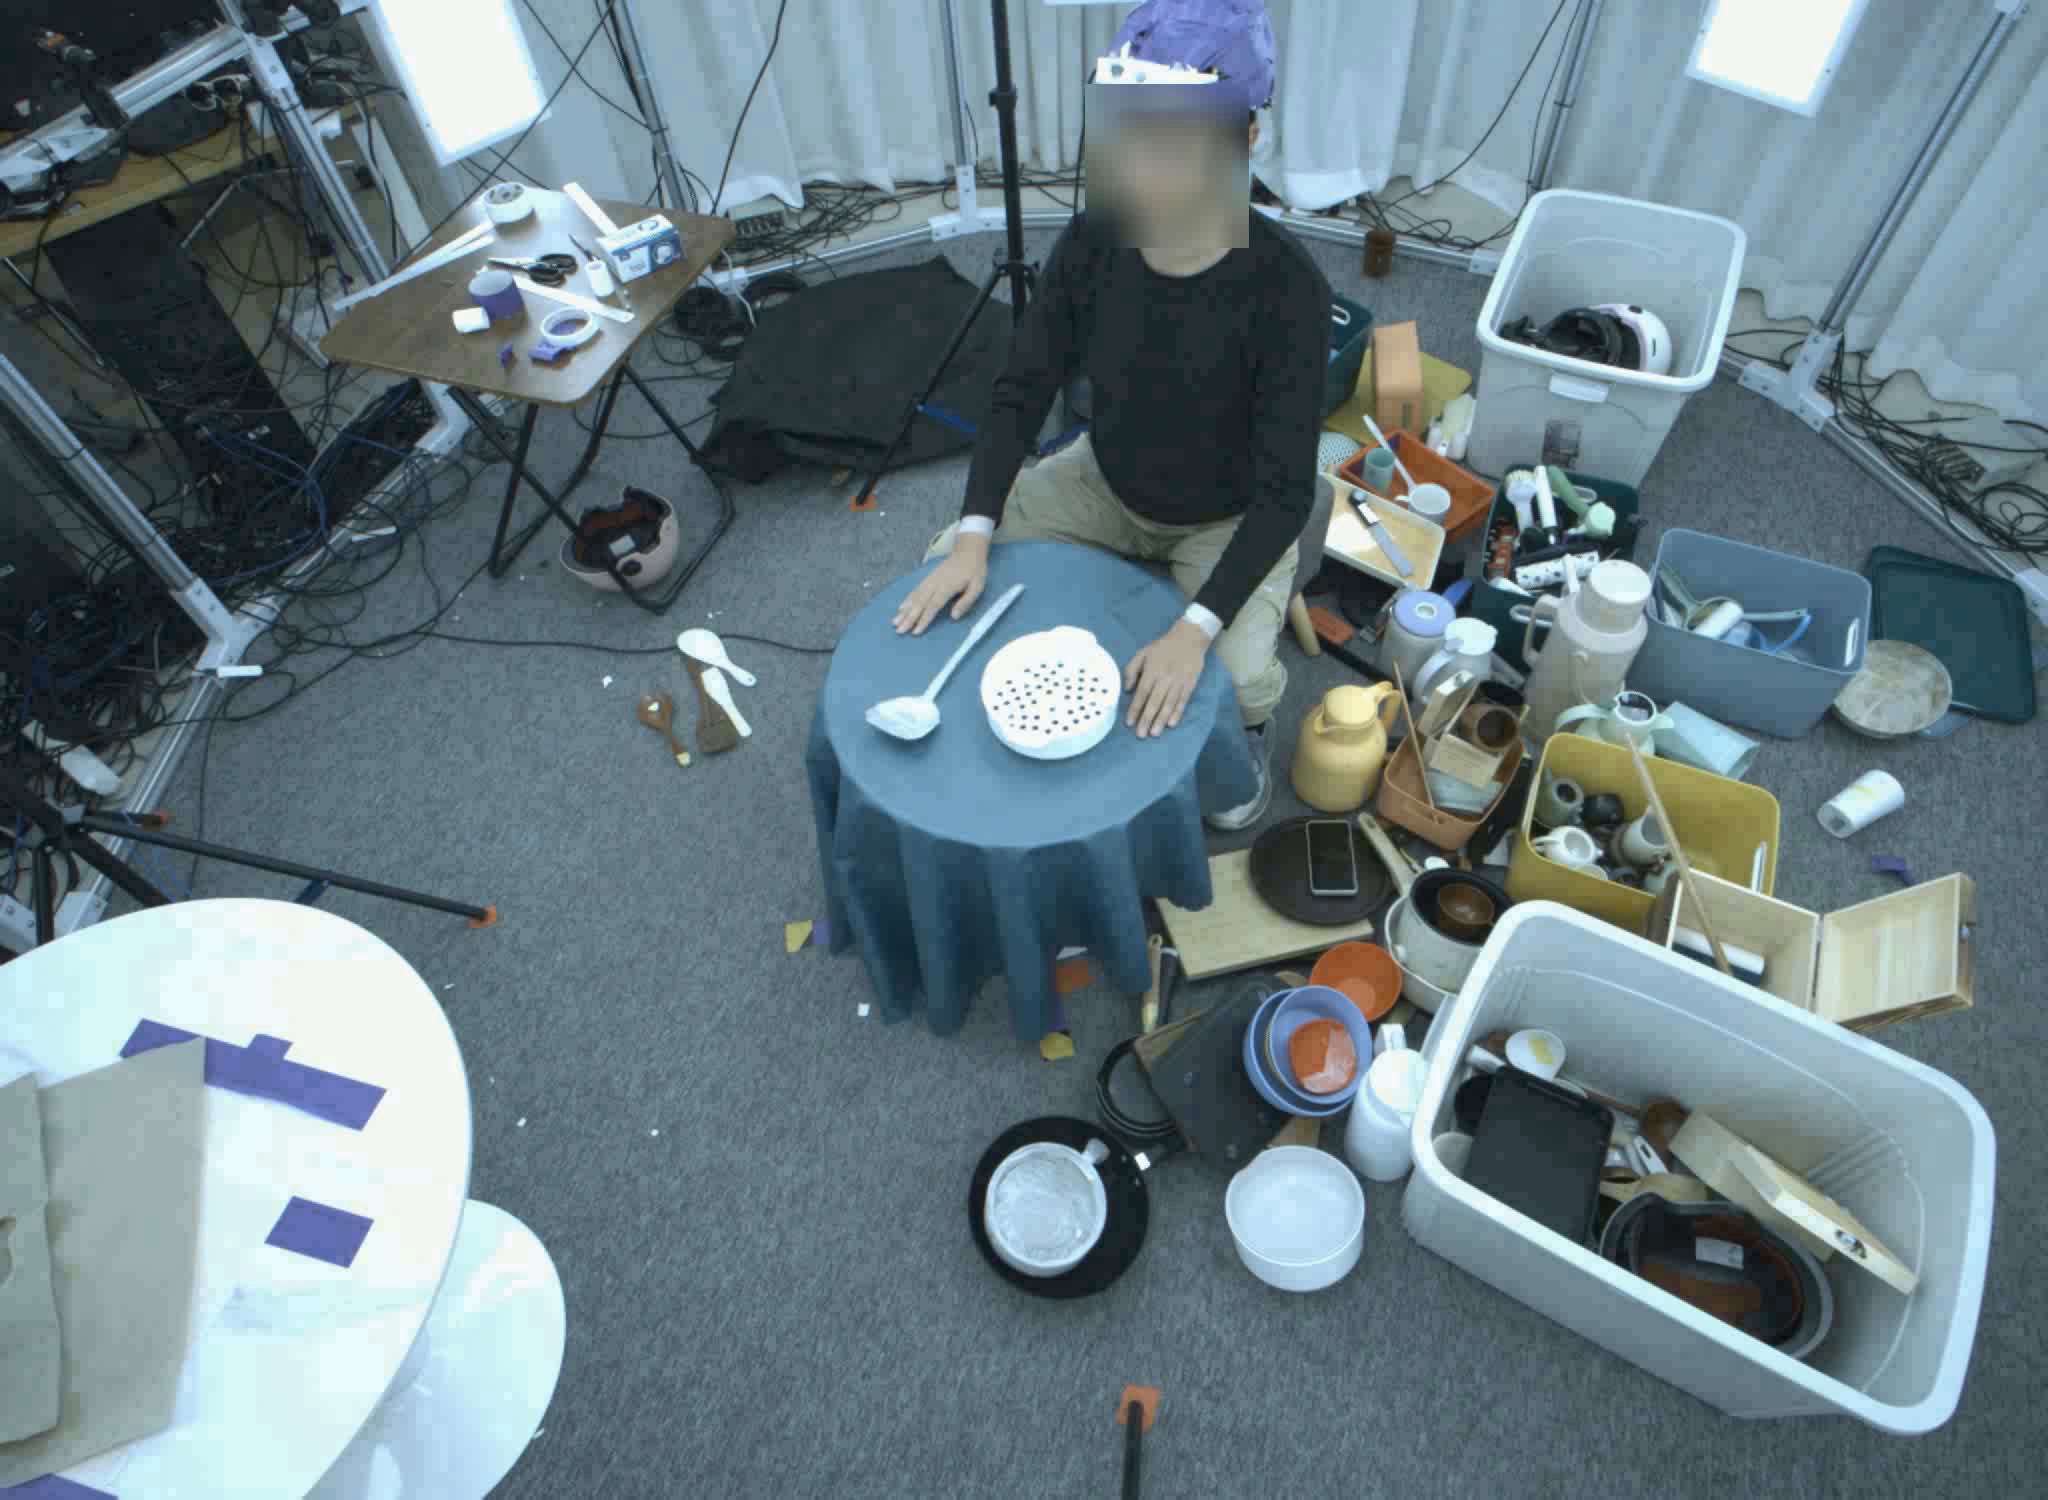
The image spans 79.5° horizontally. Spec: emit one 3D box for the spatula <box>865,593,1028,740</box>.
[{"bbox_3d":[-0.102,-0.141,1.868,0.097,0.045,0.366,25,59,21],"label":"spatula"}]

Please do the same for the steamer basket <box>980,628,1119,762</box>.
[{"bbox_3d":[0.038,-0.076,1.797,0.200,0.070,0.230,17,56,13],"label":"steamer basket"}]
